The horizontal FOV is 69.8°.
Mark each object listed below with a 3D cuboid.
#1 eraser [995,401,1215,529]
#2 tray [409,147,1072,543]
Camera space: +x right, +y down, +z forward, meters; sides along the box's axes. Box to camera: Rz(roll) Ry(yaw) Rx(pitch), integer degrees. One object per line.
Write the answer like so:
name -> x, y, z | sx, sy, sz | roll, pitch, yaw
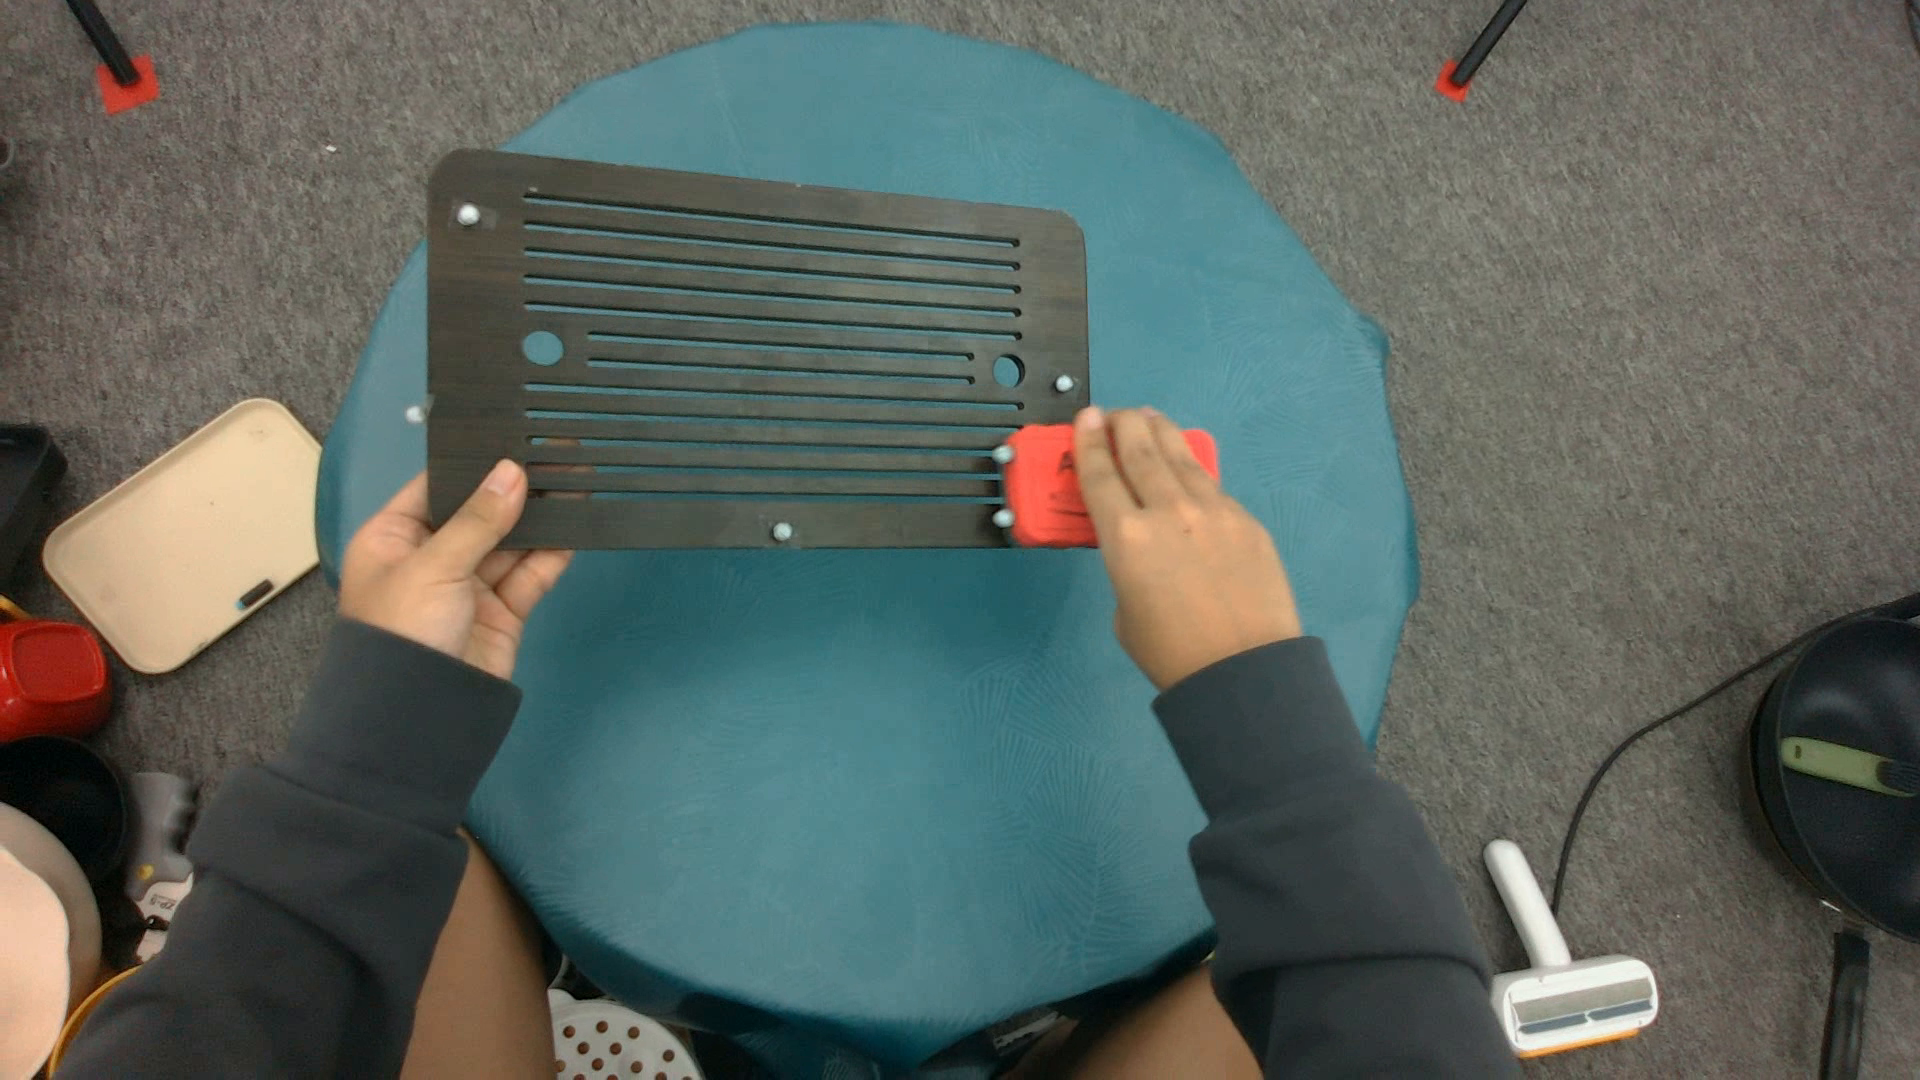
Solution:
eraser -> 0.071, -0.035, 0.668 | 0.108, 0.023, 0.059 | 0, 81, -23
tray -> -0.090, -0.084, 0.636 | 0.306, 0.018, 0.170 | 0, 84, -22
